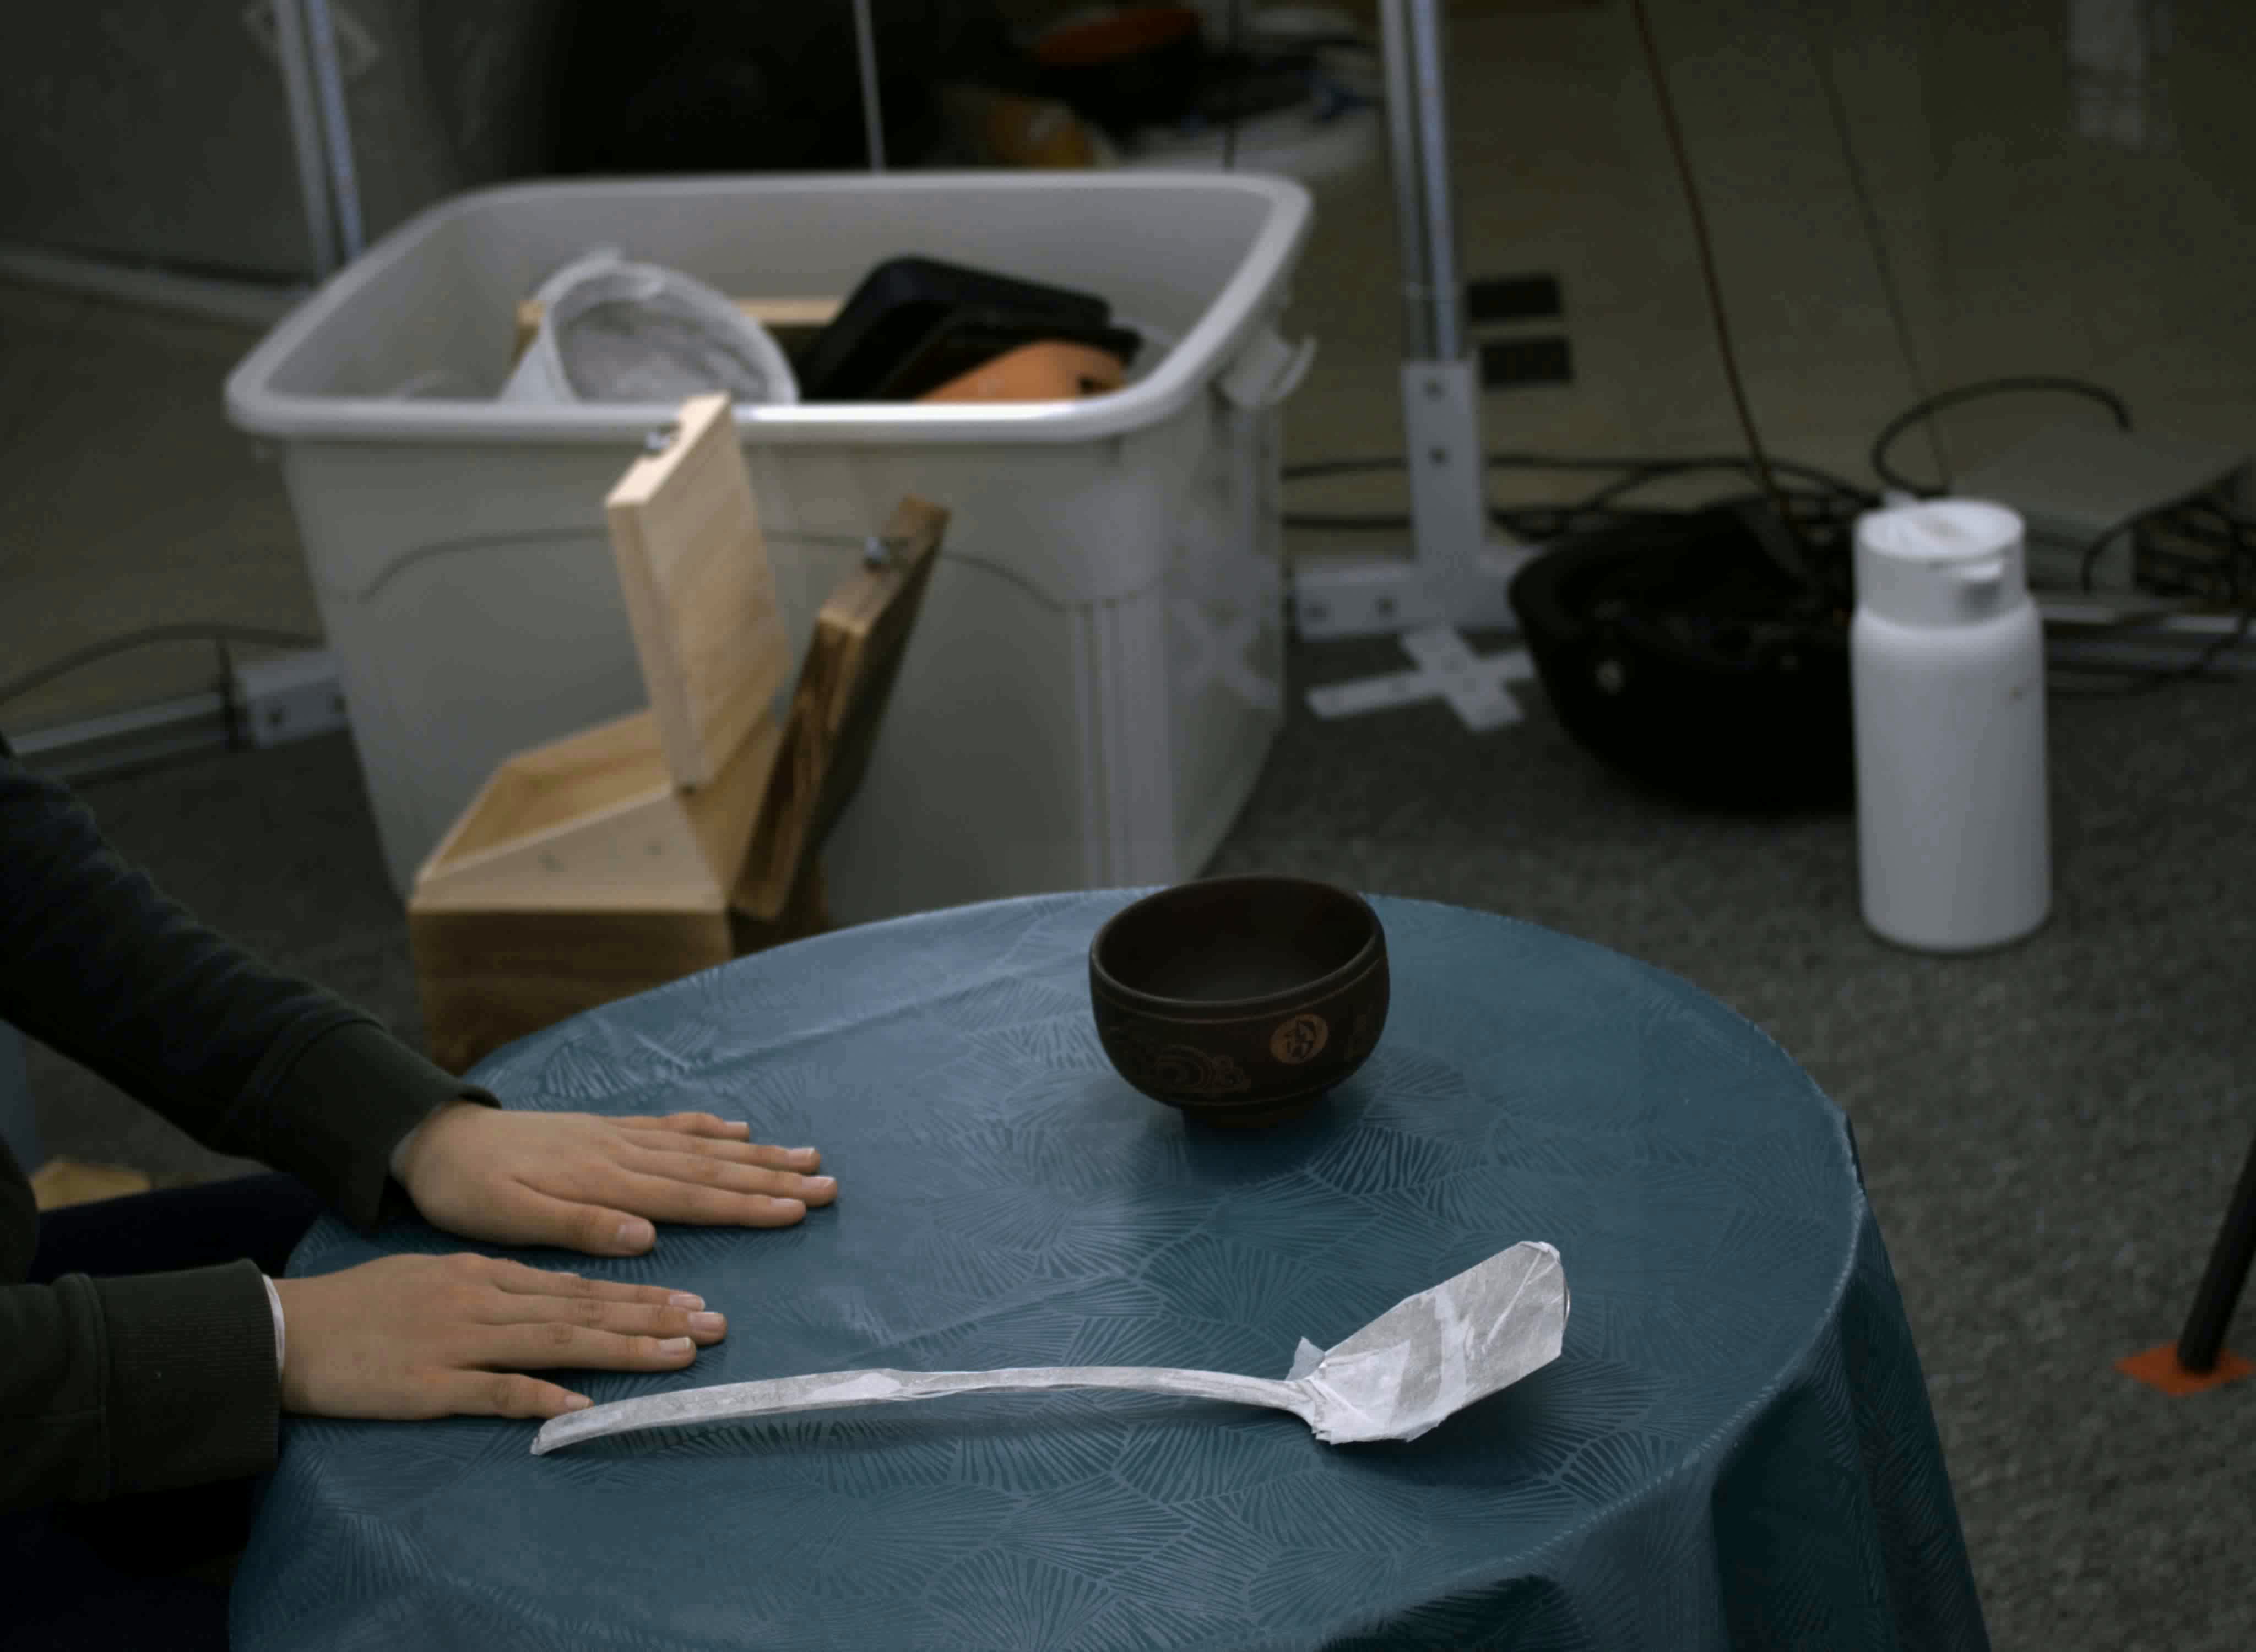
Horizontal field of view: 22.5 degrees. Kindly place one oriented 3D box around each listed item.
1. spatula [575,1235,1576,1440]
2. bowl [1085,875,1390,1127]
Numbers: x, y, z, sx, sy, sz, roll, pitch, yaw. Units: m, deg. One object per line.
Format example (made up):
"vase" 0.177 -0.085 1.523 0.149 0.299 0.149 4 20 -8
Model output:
"spatula" -0.023 0.190 2.002 0.364 0.045 0.097 -3 27 8
"bowl" 0.044 0.074 2.197 0.118 0.071 0.116 -6 23 3
